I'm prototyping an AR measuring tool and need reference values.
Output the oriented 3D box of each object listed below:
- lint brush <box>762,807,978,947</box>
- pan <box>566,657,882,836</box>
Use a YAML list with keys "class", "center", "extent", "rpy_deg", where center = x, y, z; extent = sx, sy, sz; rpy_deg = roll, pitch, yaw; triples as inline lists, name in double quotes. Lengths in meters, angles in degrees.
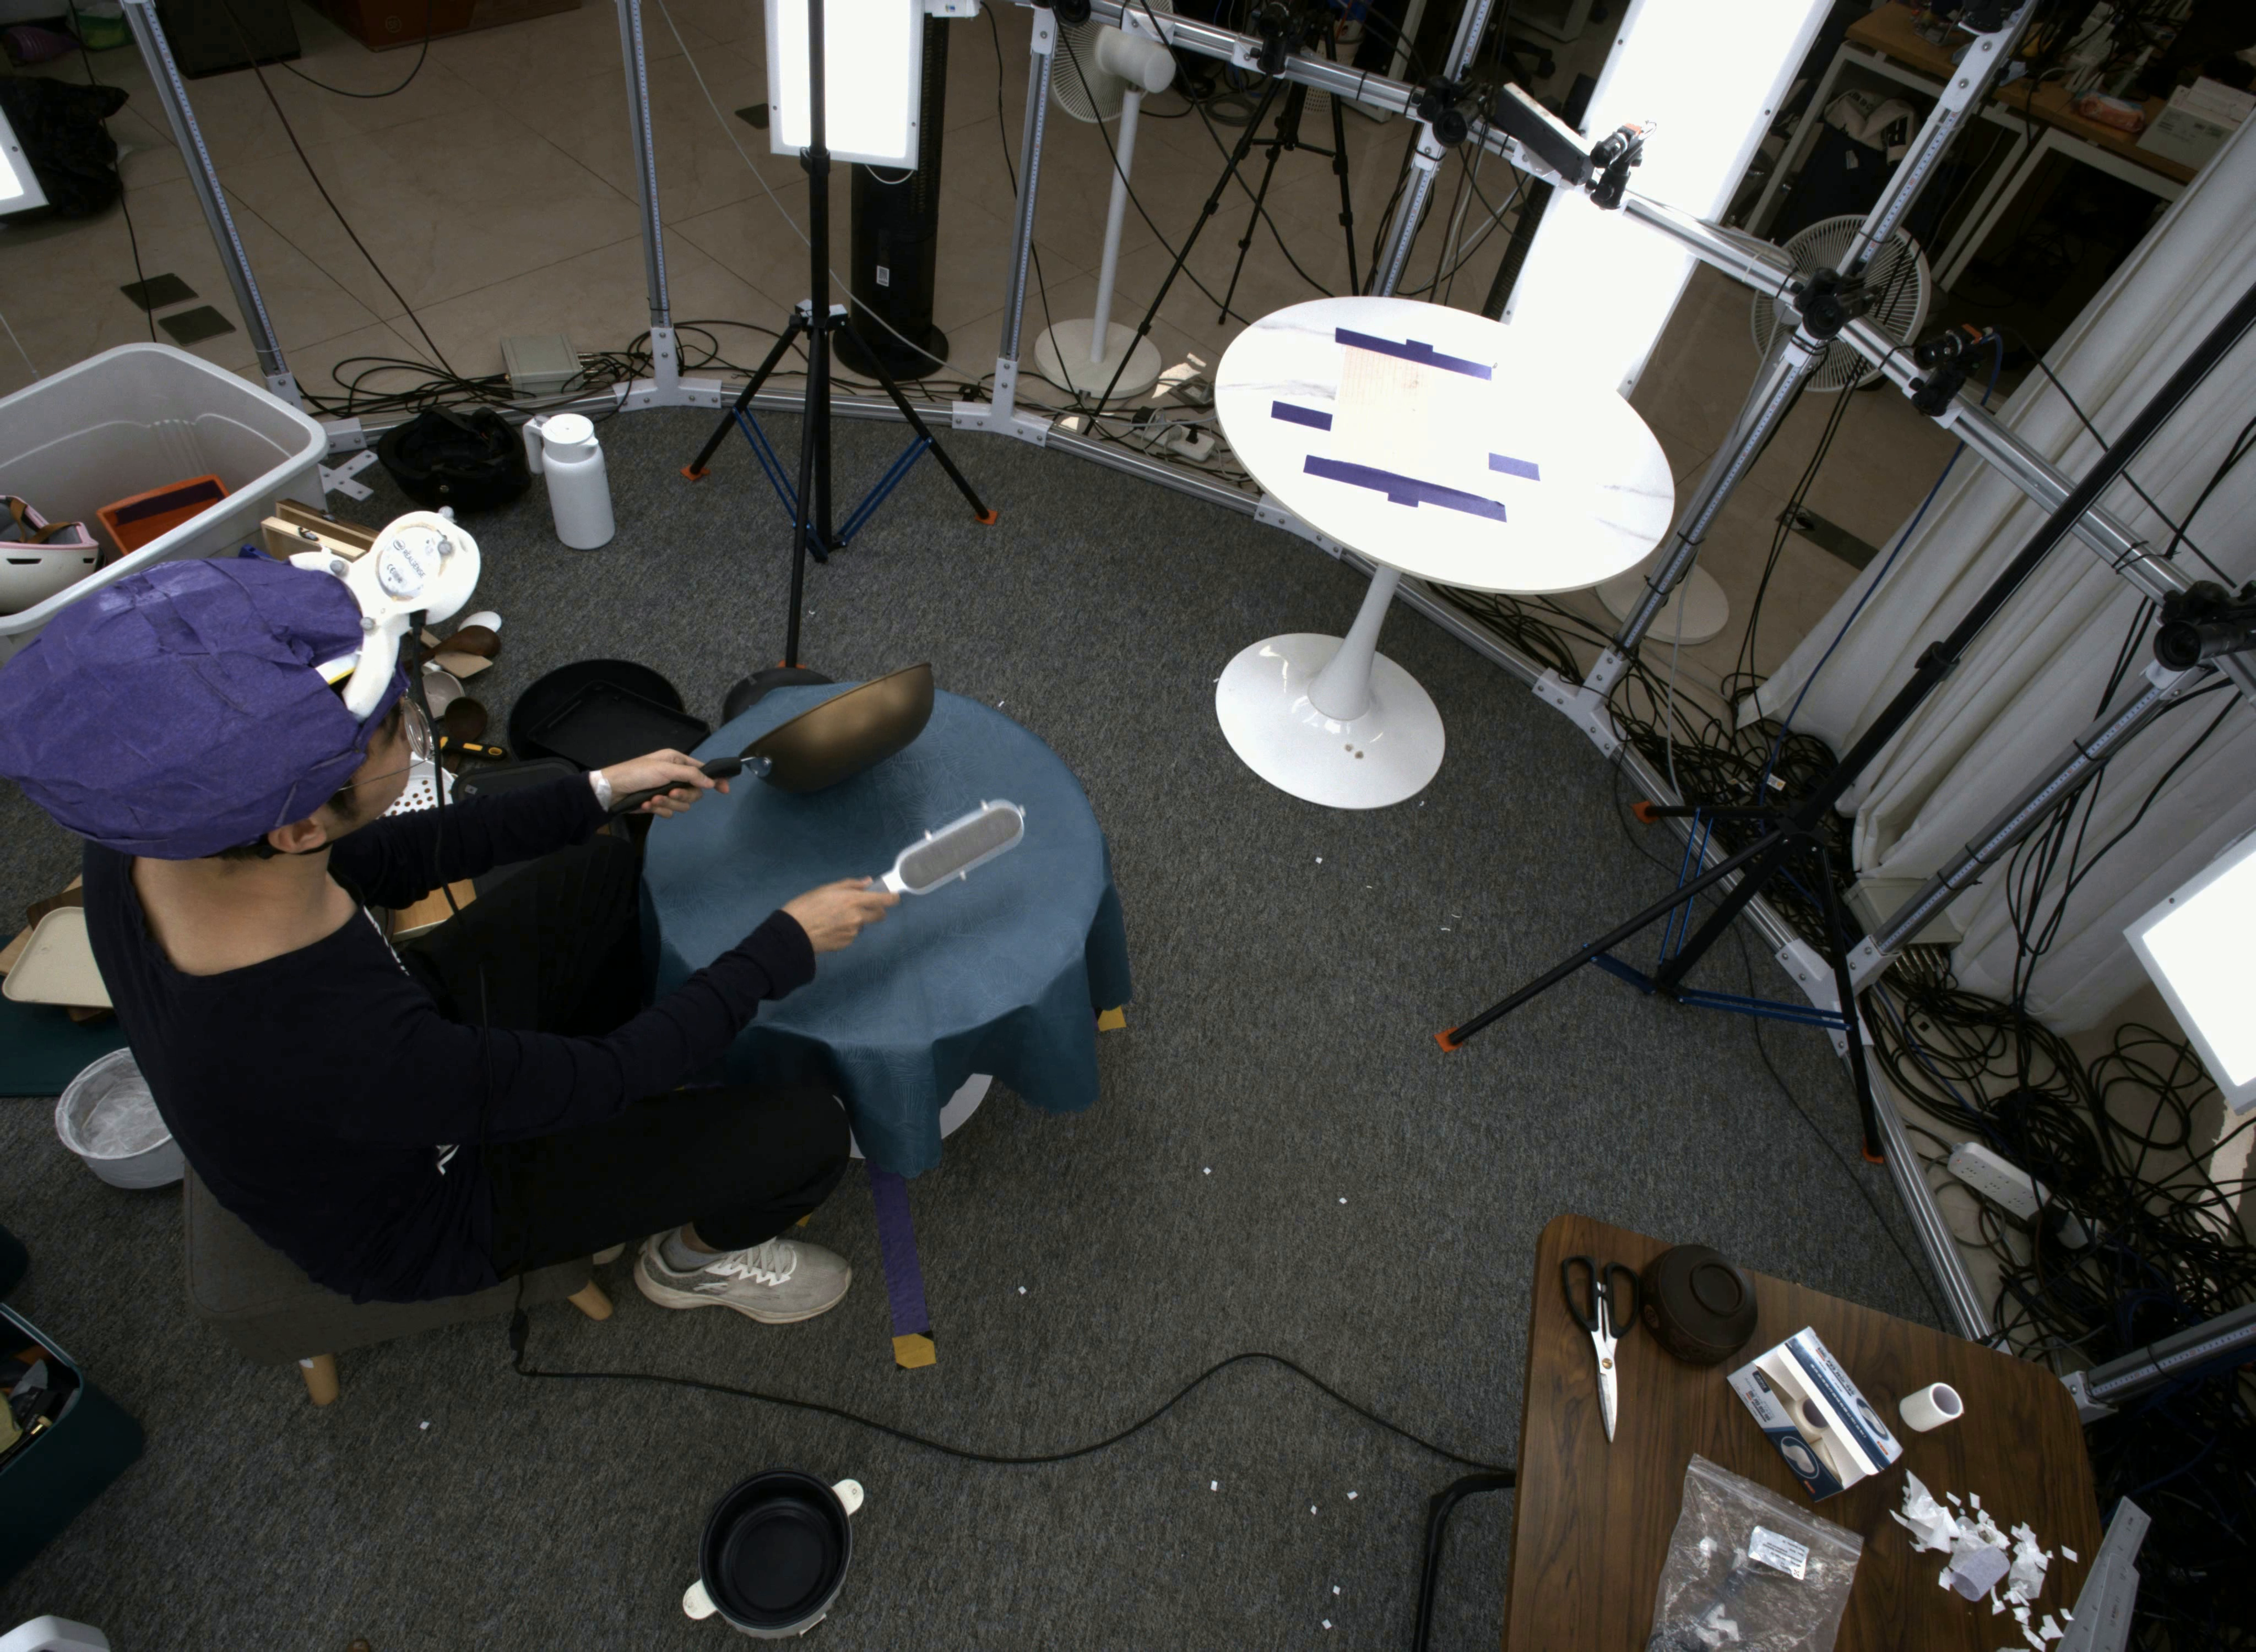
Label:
- class: "lint brush"
  center: [-0.315, 0.061, 1.604]
  extent: [0.309, 0.020, 0.061]
  rpy_deg: [-32, 105, -27]
- class: "pan"
  center: [-0.488, -0.072, 1.619]
  extent: [0.465, 0.283, 0.088]
  rpy_deg: [-33, 94, -37]
